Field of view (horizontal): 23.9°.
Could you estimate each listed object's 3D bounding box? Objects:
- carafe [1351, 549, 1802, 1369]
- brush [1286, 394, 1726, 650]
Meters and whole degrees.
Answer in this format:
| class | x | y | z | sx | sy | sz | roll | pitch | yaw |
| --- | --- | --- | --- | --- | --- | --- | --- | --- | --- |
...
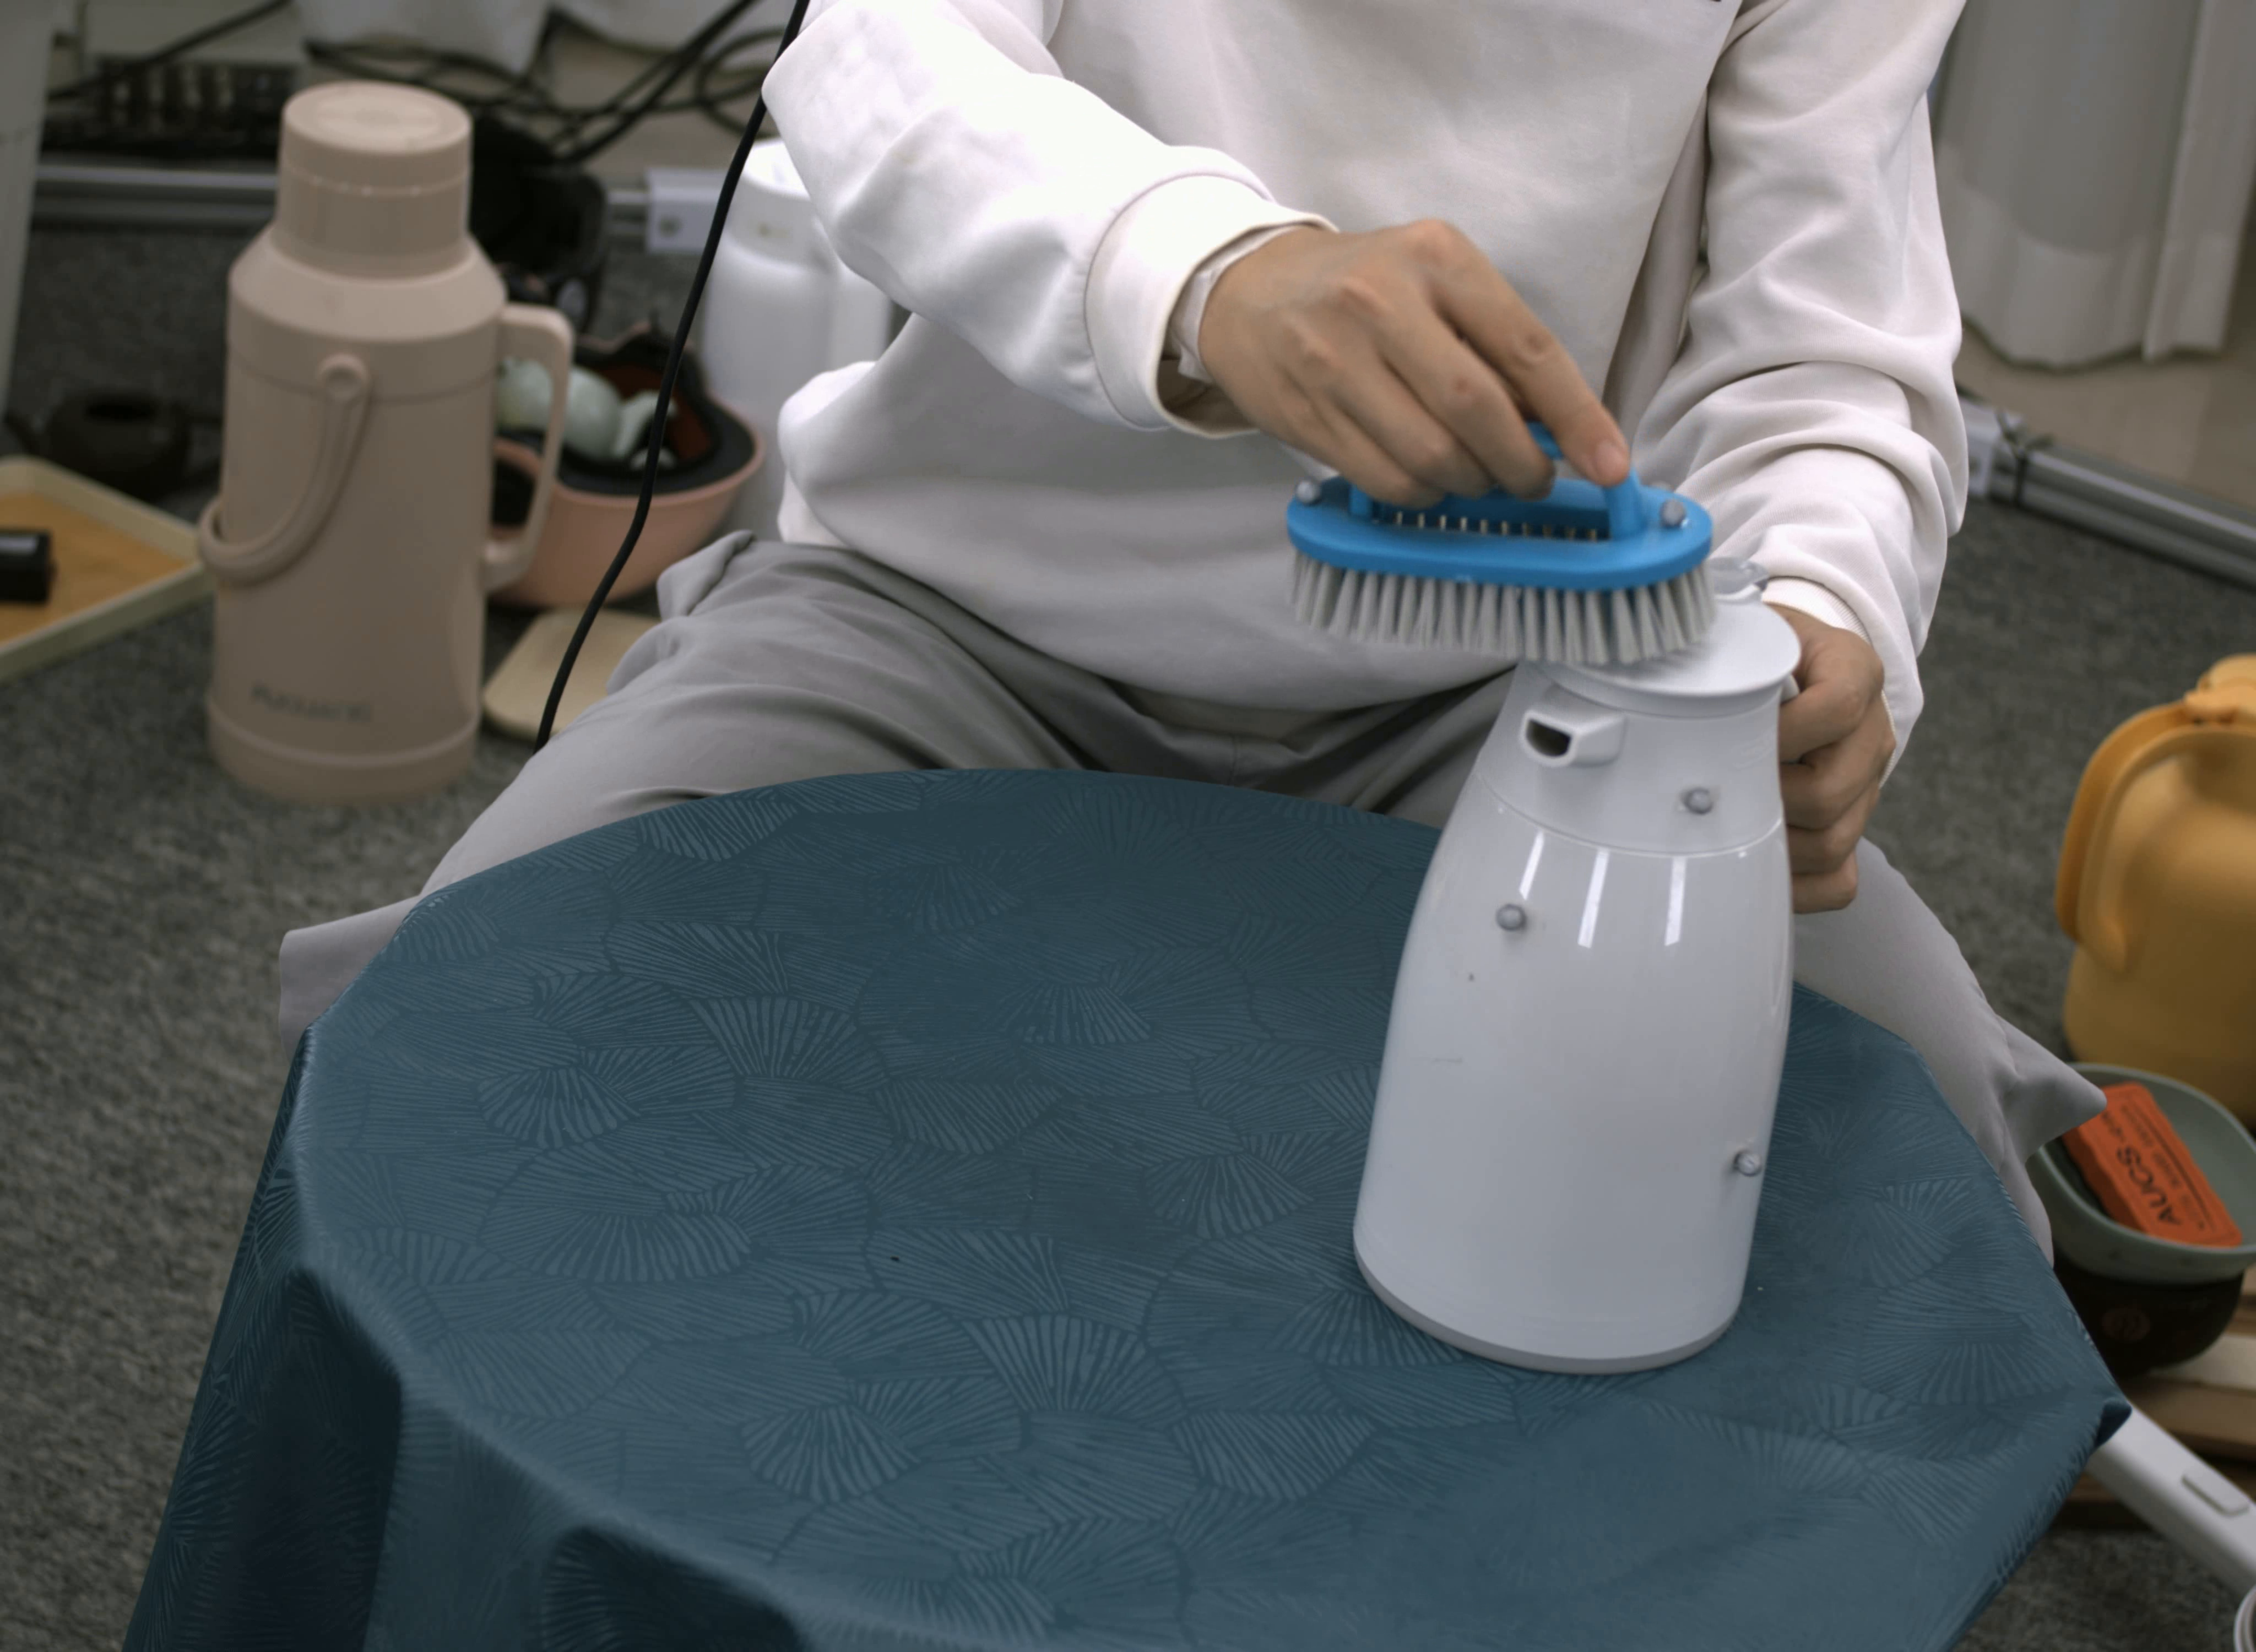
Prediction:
| class | x | y | z | sx | sy | sz | roll | pitch | yaw |
| --- | --- | --- | --- | --- | --- | --- | --- | --- | --- |
| carafe | 0.164 | 0.032 | 1.750 | 0.133 | 0.248 | 0.167 | 22 | 29 | 28 |
| brush | 0.116 | -0.103 | 1.673 | 0.142 | 0.063 | 0.084 | 6 | 29 | 22 |
